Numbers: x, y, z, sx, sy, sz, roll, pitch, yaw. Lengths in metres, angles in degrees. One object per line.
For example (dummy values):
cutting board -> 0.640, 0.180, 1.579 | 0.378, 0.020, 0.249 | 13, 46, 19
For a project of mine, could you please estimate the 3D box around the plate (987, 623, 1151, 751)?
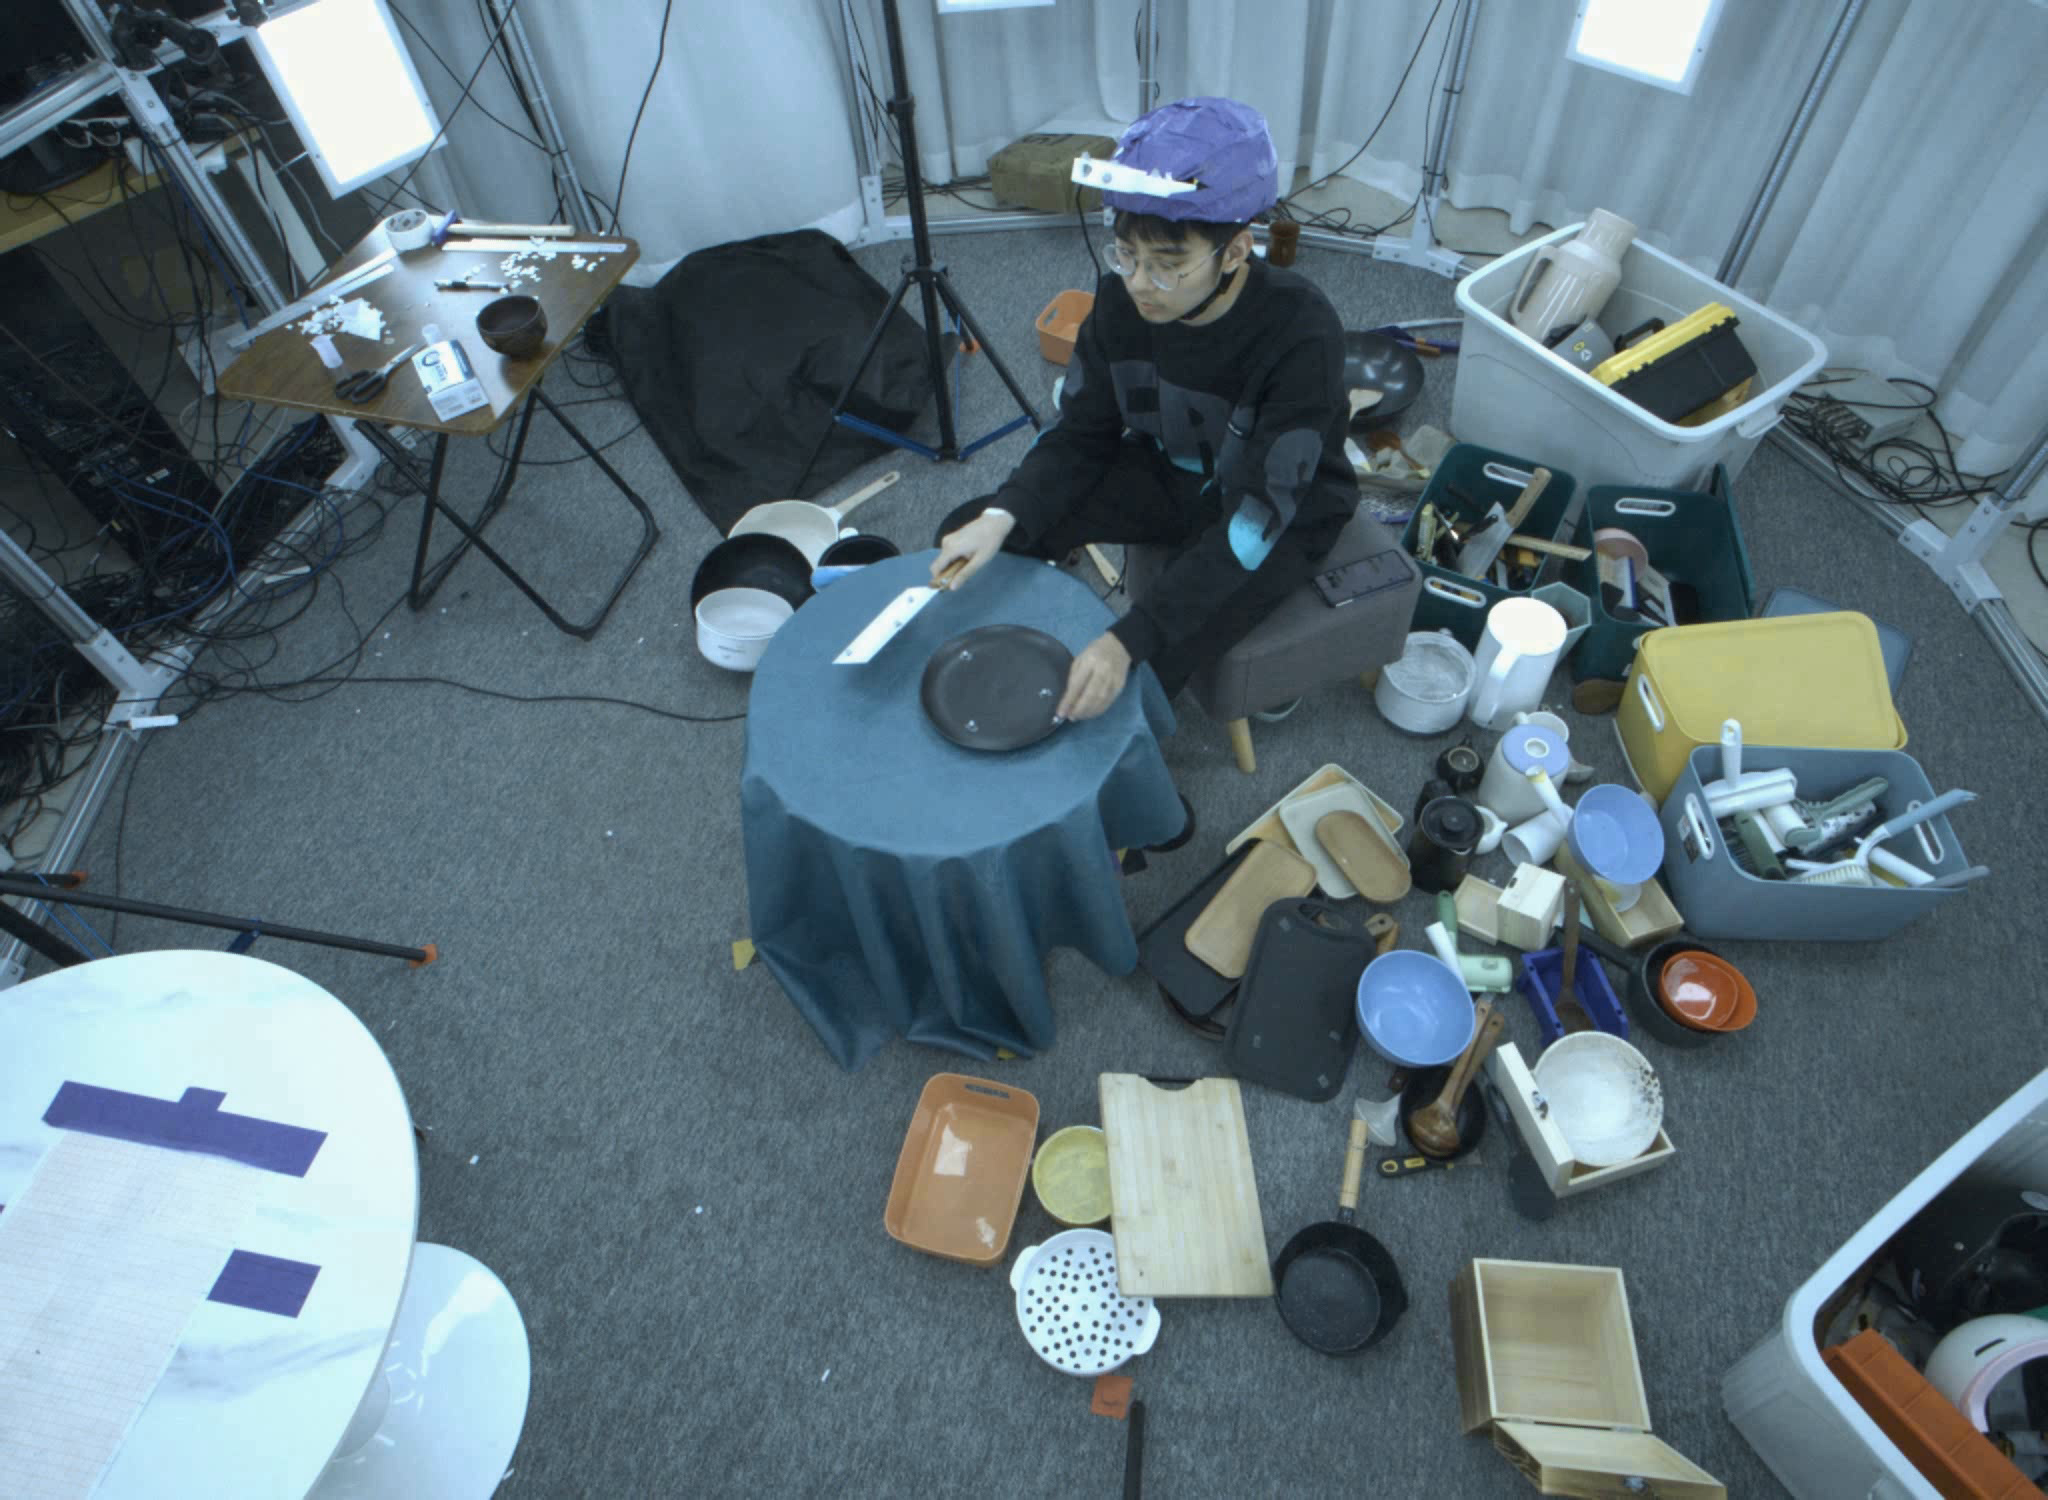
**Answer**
plate -> 0.067, -0.092, 1.835 | 0.244, 0.024, 0.242 | 0, 55, 2

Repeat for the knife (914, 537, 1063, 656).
knife -> -0.057, -0.236, 1.880 | 0.091, 0.021, 0.307 | 5, 43, 48
